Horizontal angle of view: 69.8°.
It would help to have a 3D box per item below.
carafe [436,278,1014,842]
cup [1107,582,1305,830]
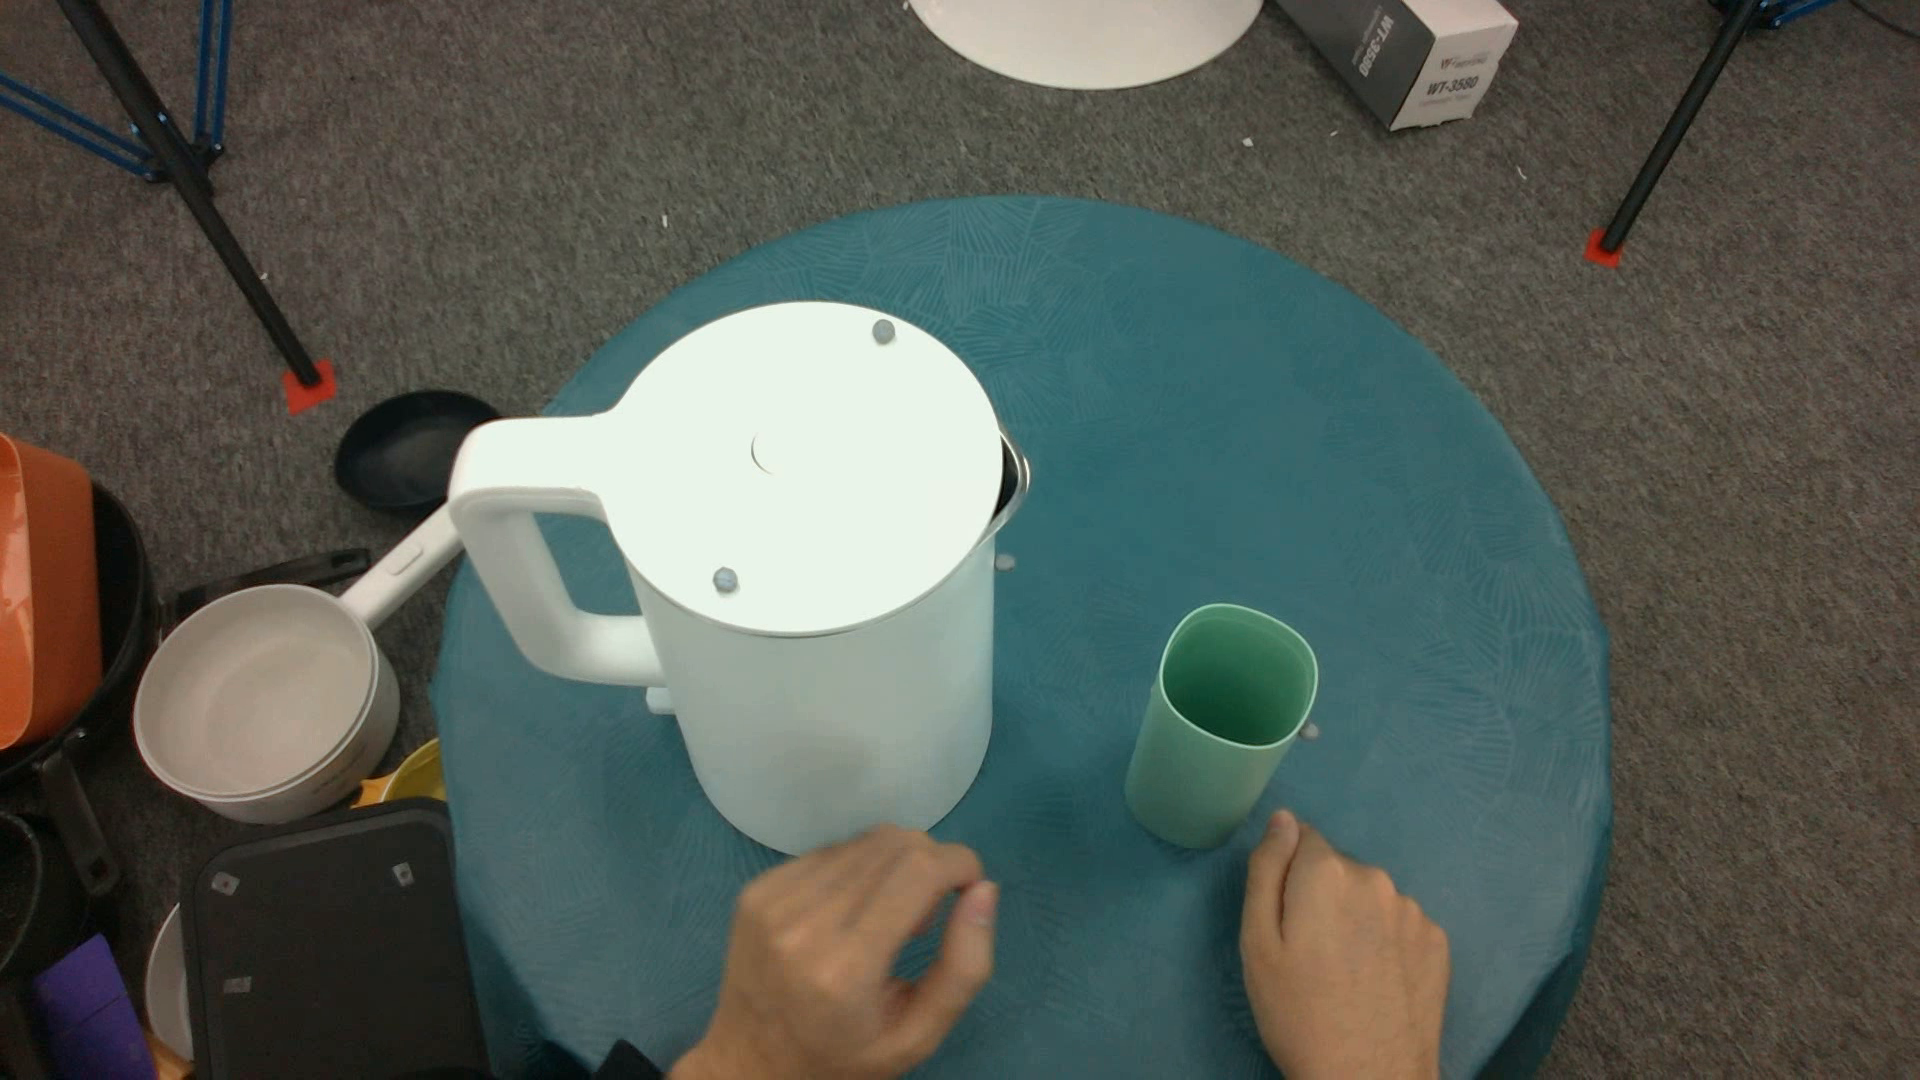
[{"bbox_3d":[-0.090,0.016,0.588,0.213,0.239,0.153,2,58,-2],"label":"carafe"},{"bbox_3d":[0.106,0.080,0.620,0.067,0.132,0.067,1,59,-2],"label":"cup"}]
